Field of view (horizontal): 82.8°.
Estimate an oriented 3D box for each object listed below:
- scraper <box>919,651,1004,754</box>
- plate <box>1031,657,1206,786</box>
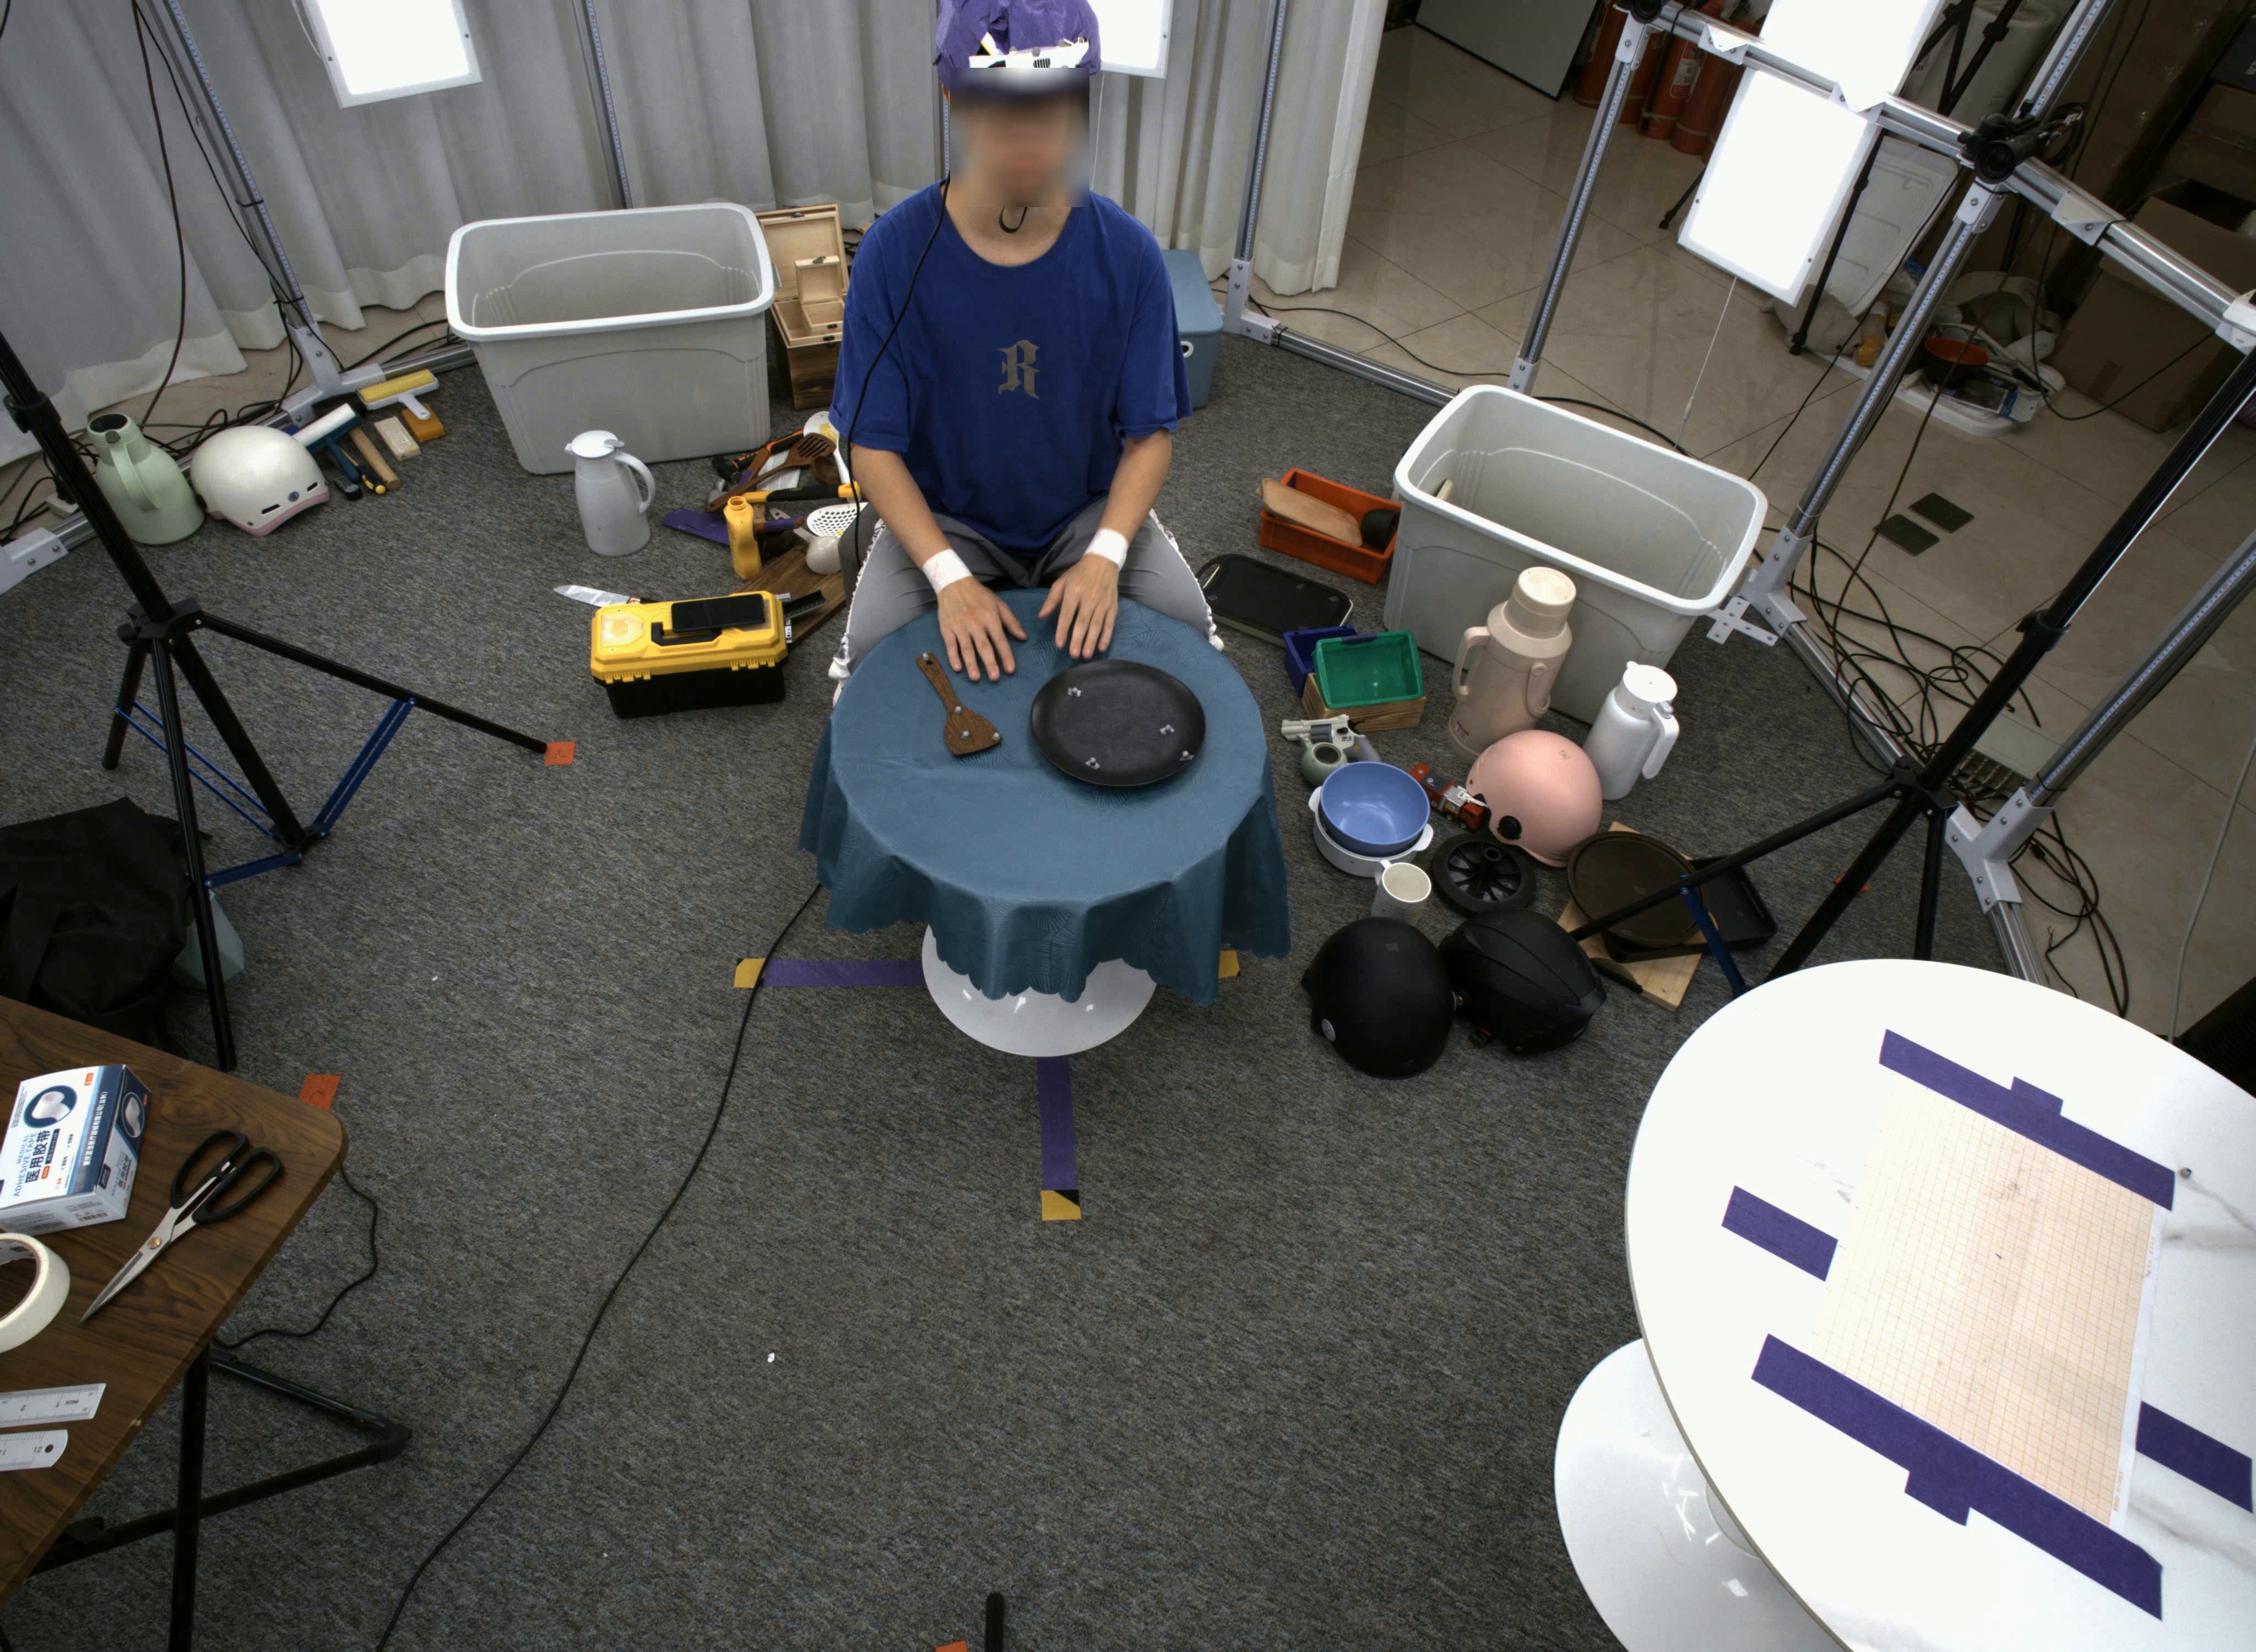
[{"bbox_3d":[-0.245,-0.176,1.803,0.076,0.010,0.216,-18,52,-19],"label":"scraper"},{"bbox_3d":[-0.014,-0.143,1.780,0.244,0.023,0.250,2,50,-2],"label":"plate"}]
